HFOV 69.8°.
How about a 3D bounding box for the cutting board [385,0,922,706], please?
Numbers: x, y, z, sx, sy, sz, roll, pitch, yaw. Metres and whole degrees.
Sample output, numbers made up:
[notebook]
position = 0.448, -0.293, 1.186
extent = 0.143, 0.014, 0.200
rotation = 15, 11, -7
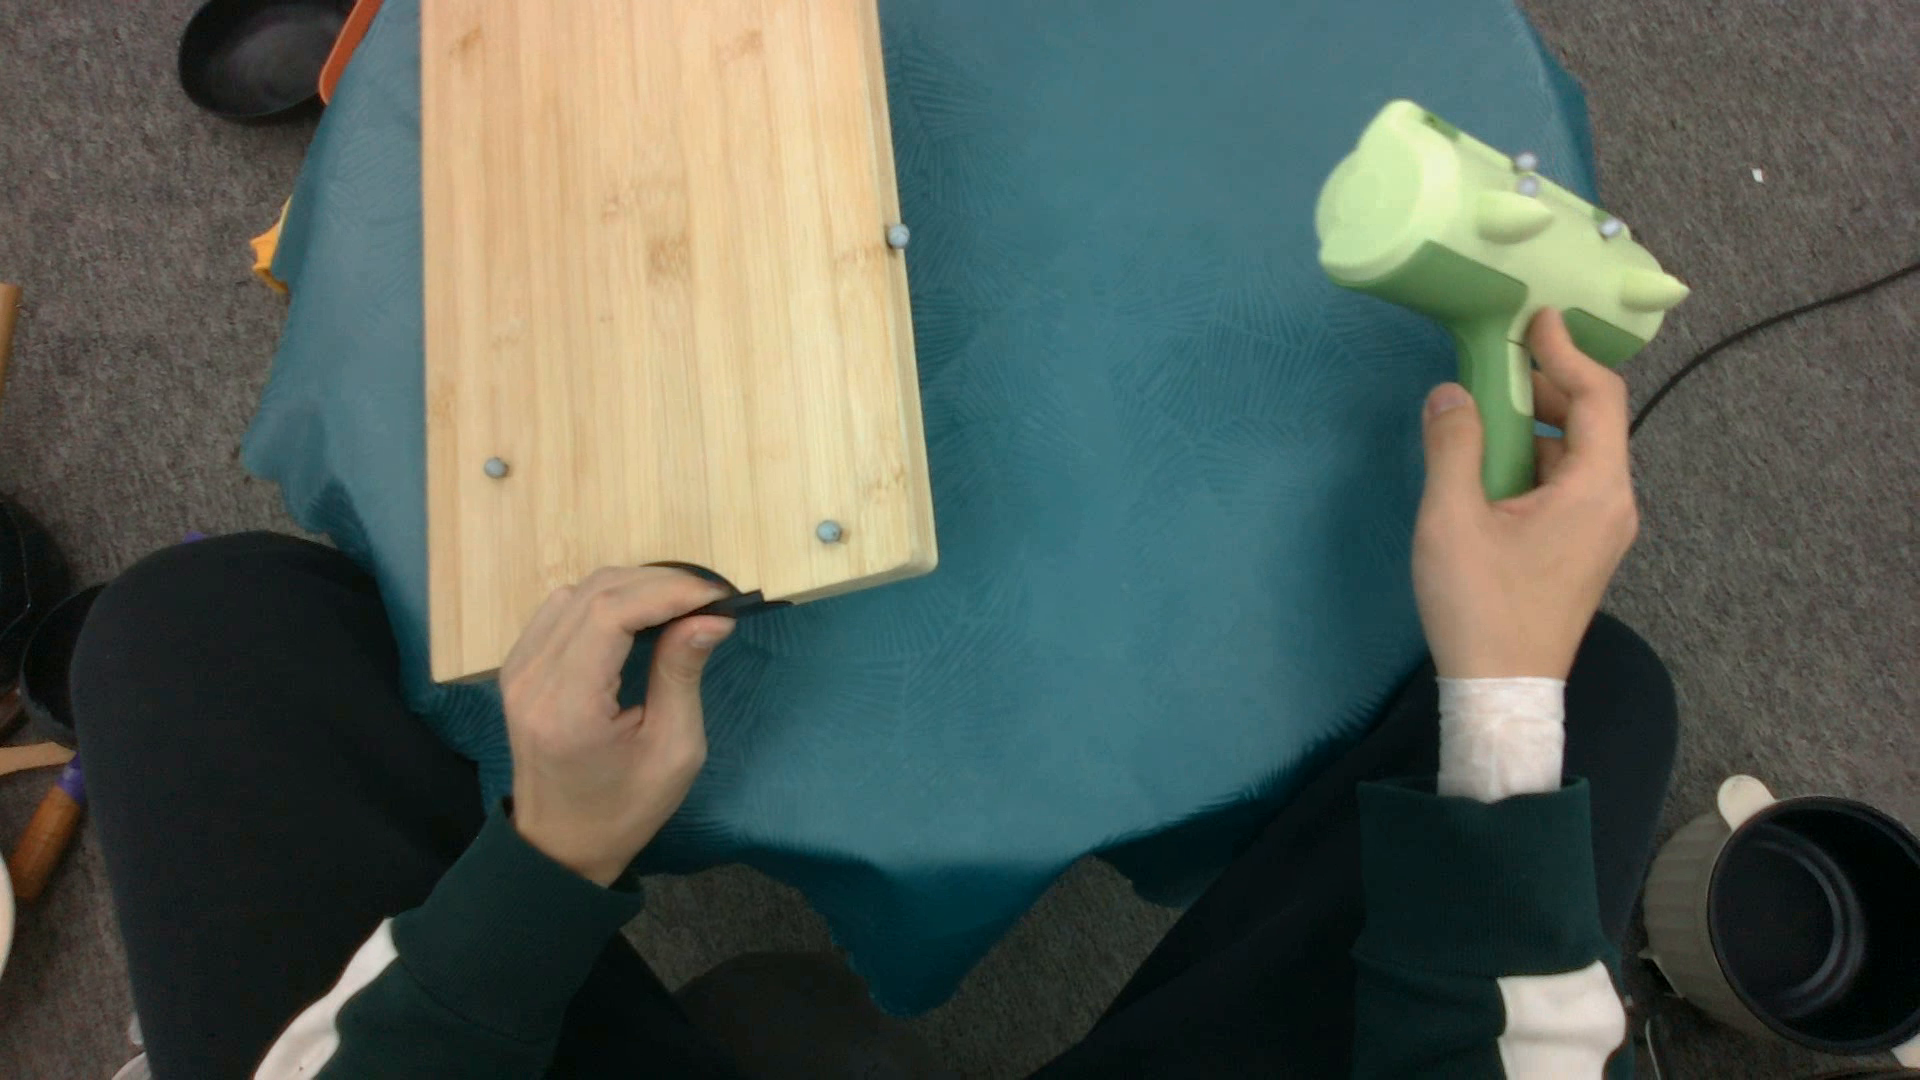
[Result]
[cutting board]
position = -0.143, -0.124, 0.568
extent = 0.250, 0.023, 0.349
rotation = -16, 74, 27

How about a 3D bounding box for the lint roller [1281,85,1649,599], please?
[lint roller]
position = 0.217, -0.072, 0.552
extent = 0.199, 0.082, 0.183
rotation = 7, 74, -40
